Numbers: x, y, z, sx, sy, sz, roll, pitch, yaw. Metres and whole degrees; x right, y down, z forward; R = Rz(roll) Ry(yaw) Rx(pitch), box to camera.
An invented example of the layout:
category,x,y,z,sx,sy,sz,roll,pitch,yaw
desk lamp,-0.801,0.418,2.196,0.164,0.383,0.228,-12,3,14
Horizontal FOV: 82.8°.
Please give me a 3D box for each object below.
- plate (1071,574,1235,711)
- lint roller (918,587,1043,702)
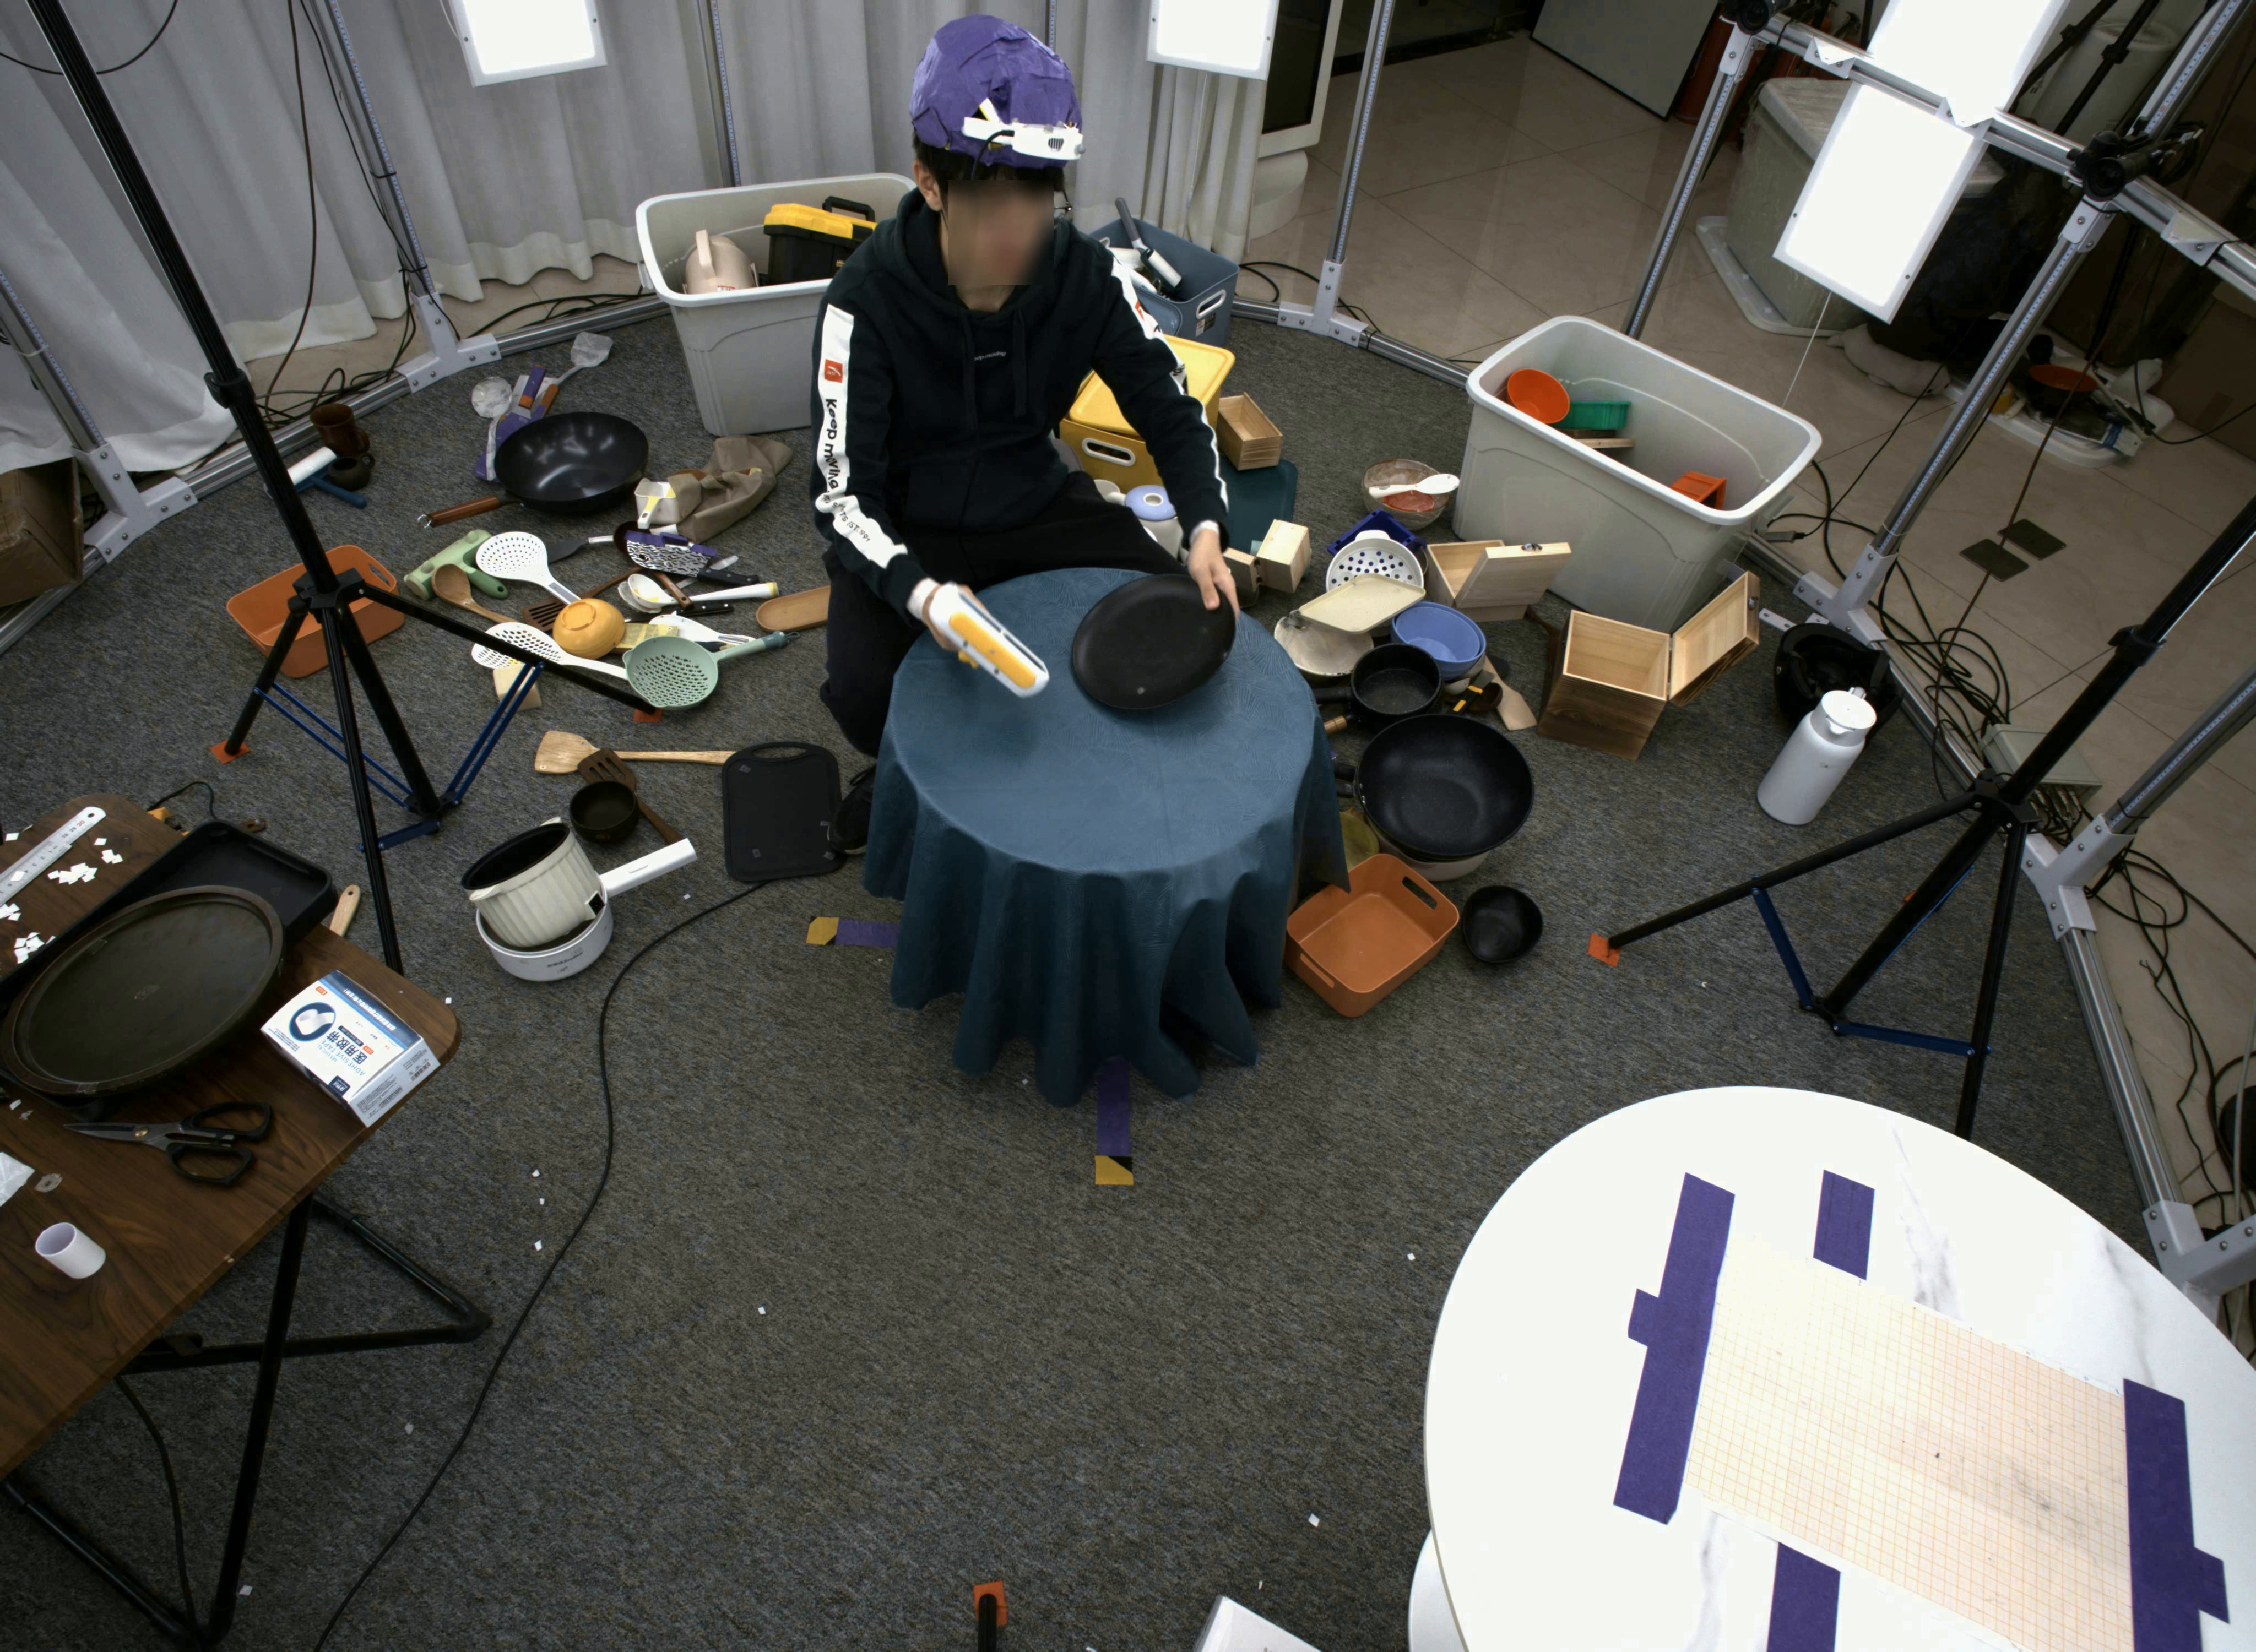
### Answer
category,x,y,z,sx,sy,sz,roll,pitch,yaw
plate,0.037,-0.261,1.843,0.244,0.023,0.250,-9,55,14
lint roller,-0.215,-0.247,1.758,0.074,0.190,0.195,-53,22,1
